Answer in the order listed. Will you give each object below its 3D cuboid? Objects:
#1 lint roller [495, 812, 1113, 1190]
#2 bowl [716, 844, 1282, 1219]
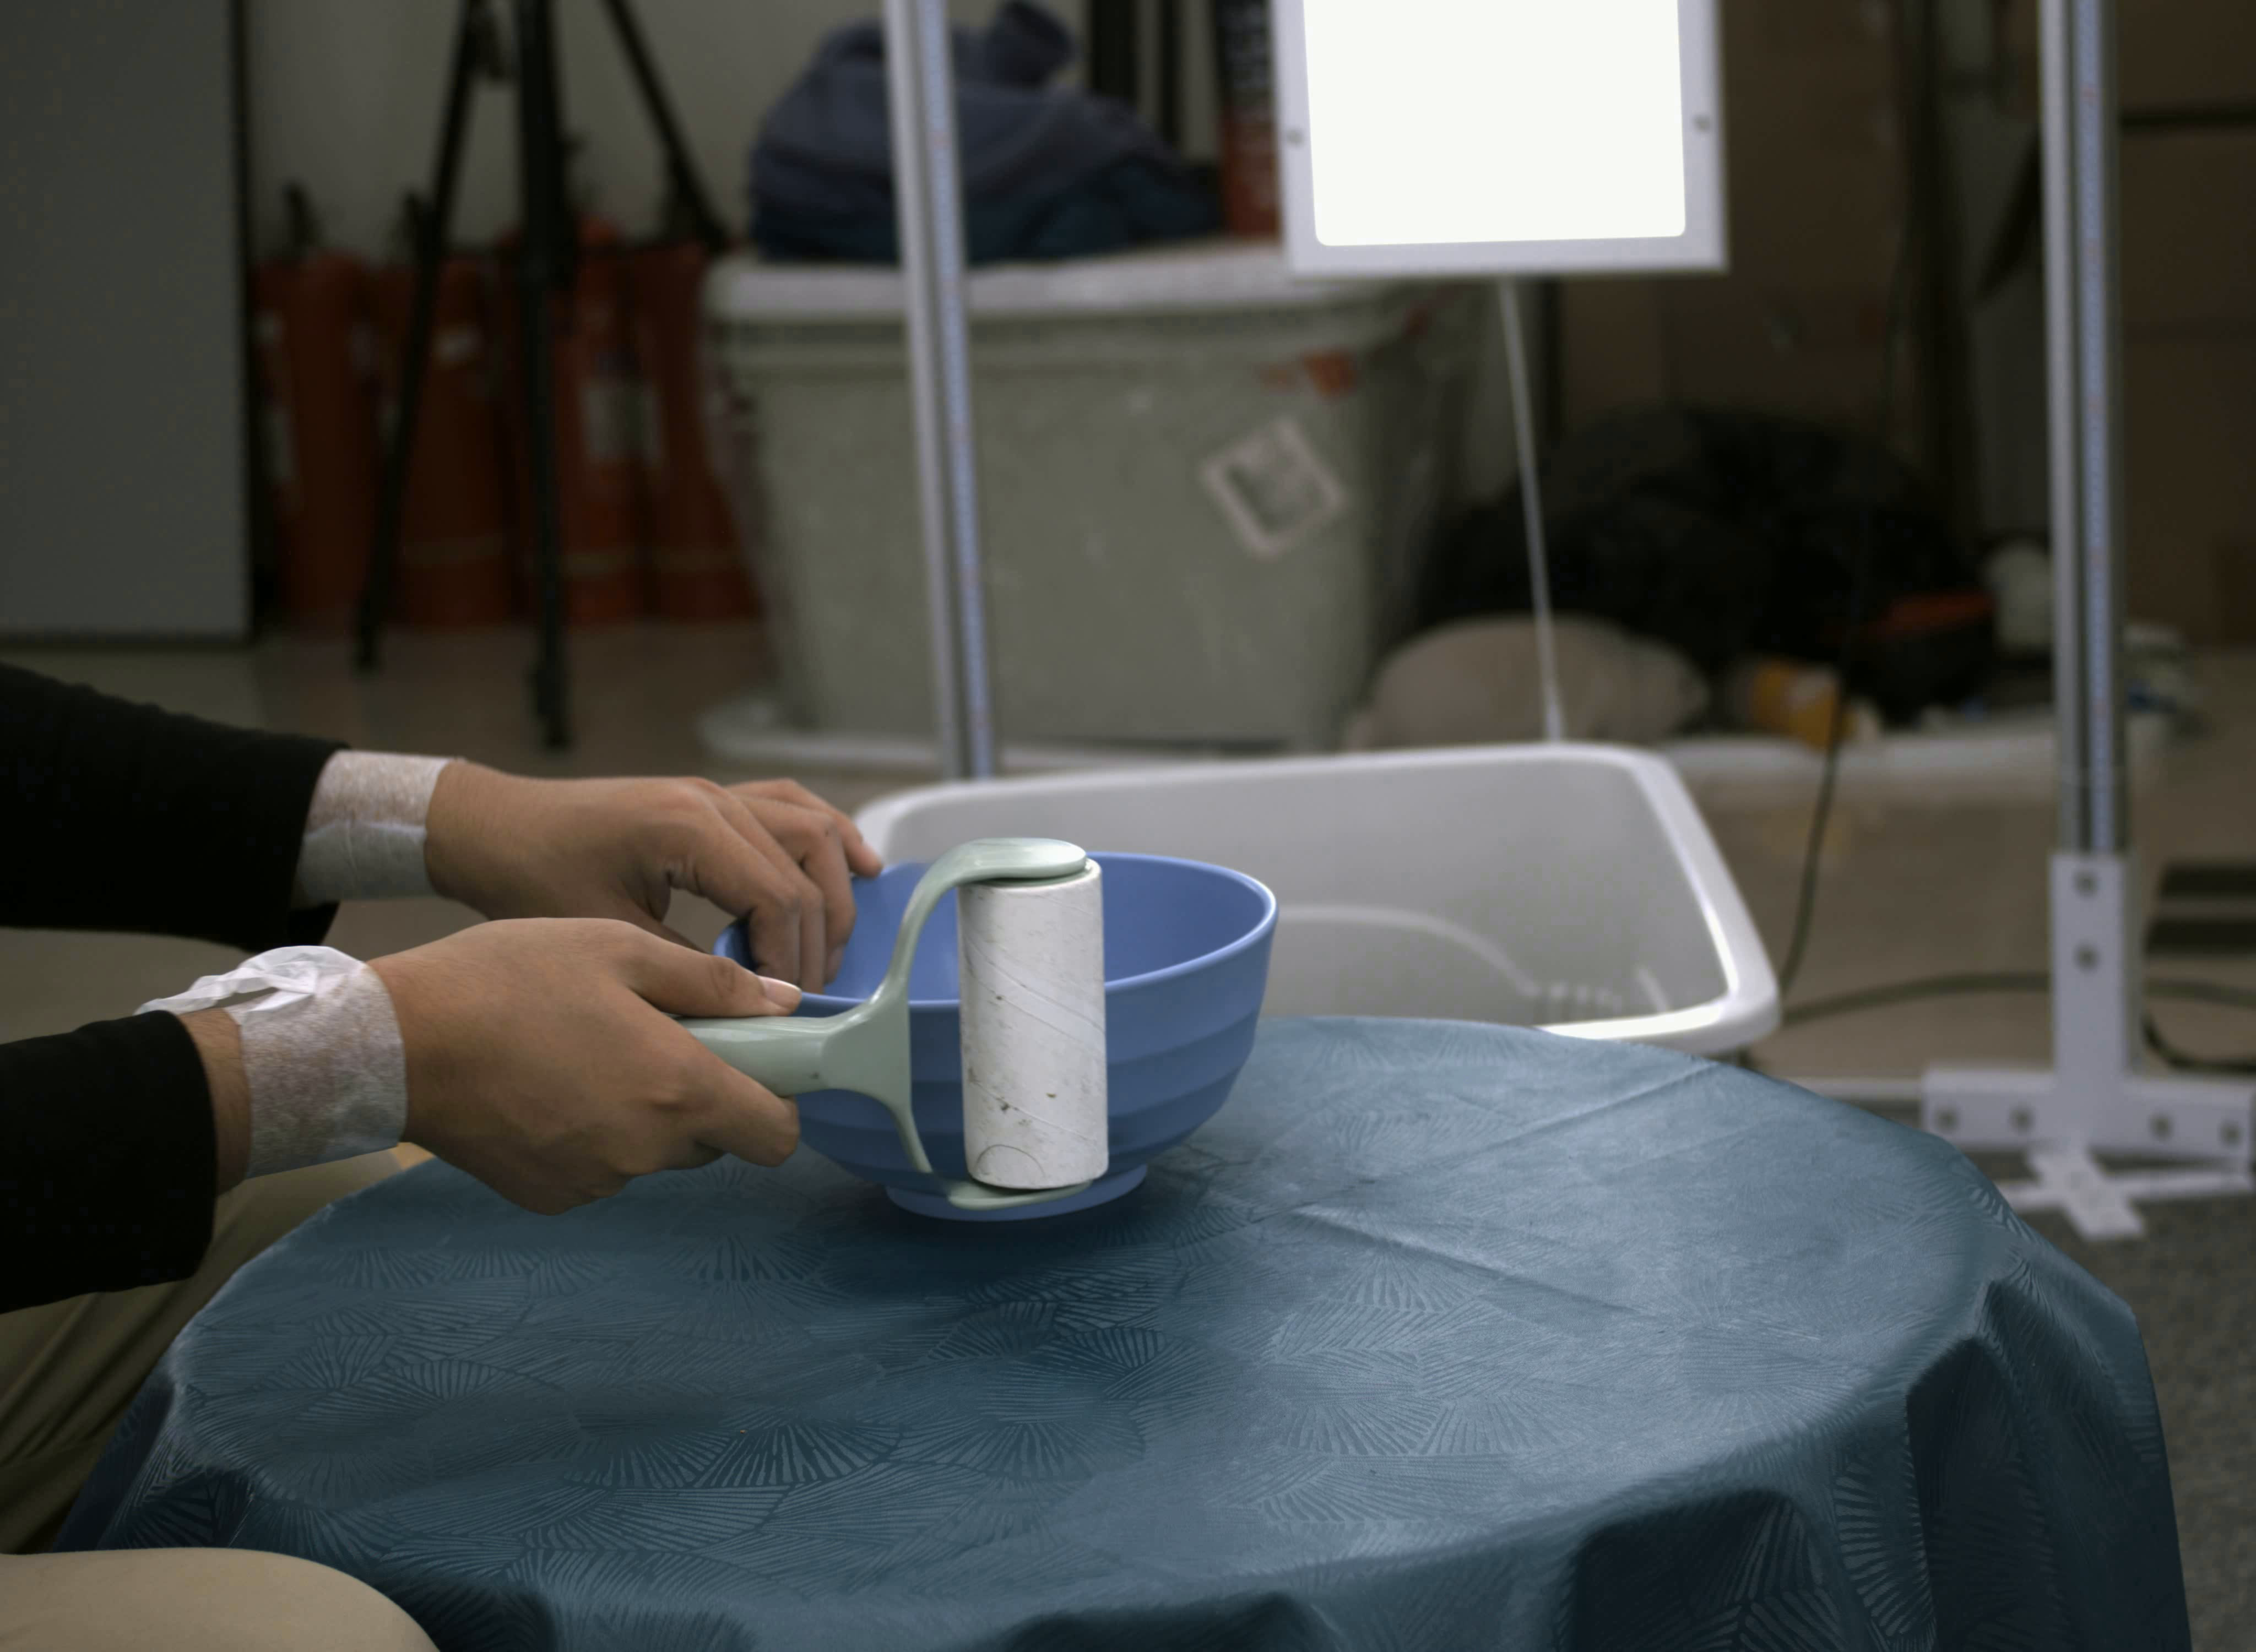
[{"bbox_3d":[-0.100,0.061,1.736,0.194,0.117,0.049,-6,16,-16],"label":"lint roller"},{"bbox_3d":[-0.042,0.077,1.909,0.196,0.096,0.196,-4,15,0],"label":"bowl"}]
